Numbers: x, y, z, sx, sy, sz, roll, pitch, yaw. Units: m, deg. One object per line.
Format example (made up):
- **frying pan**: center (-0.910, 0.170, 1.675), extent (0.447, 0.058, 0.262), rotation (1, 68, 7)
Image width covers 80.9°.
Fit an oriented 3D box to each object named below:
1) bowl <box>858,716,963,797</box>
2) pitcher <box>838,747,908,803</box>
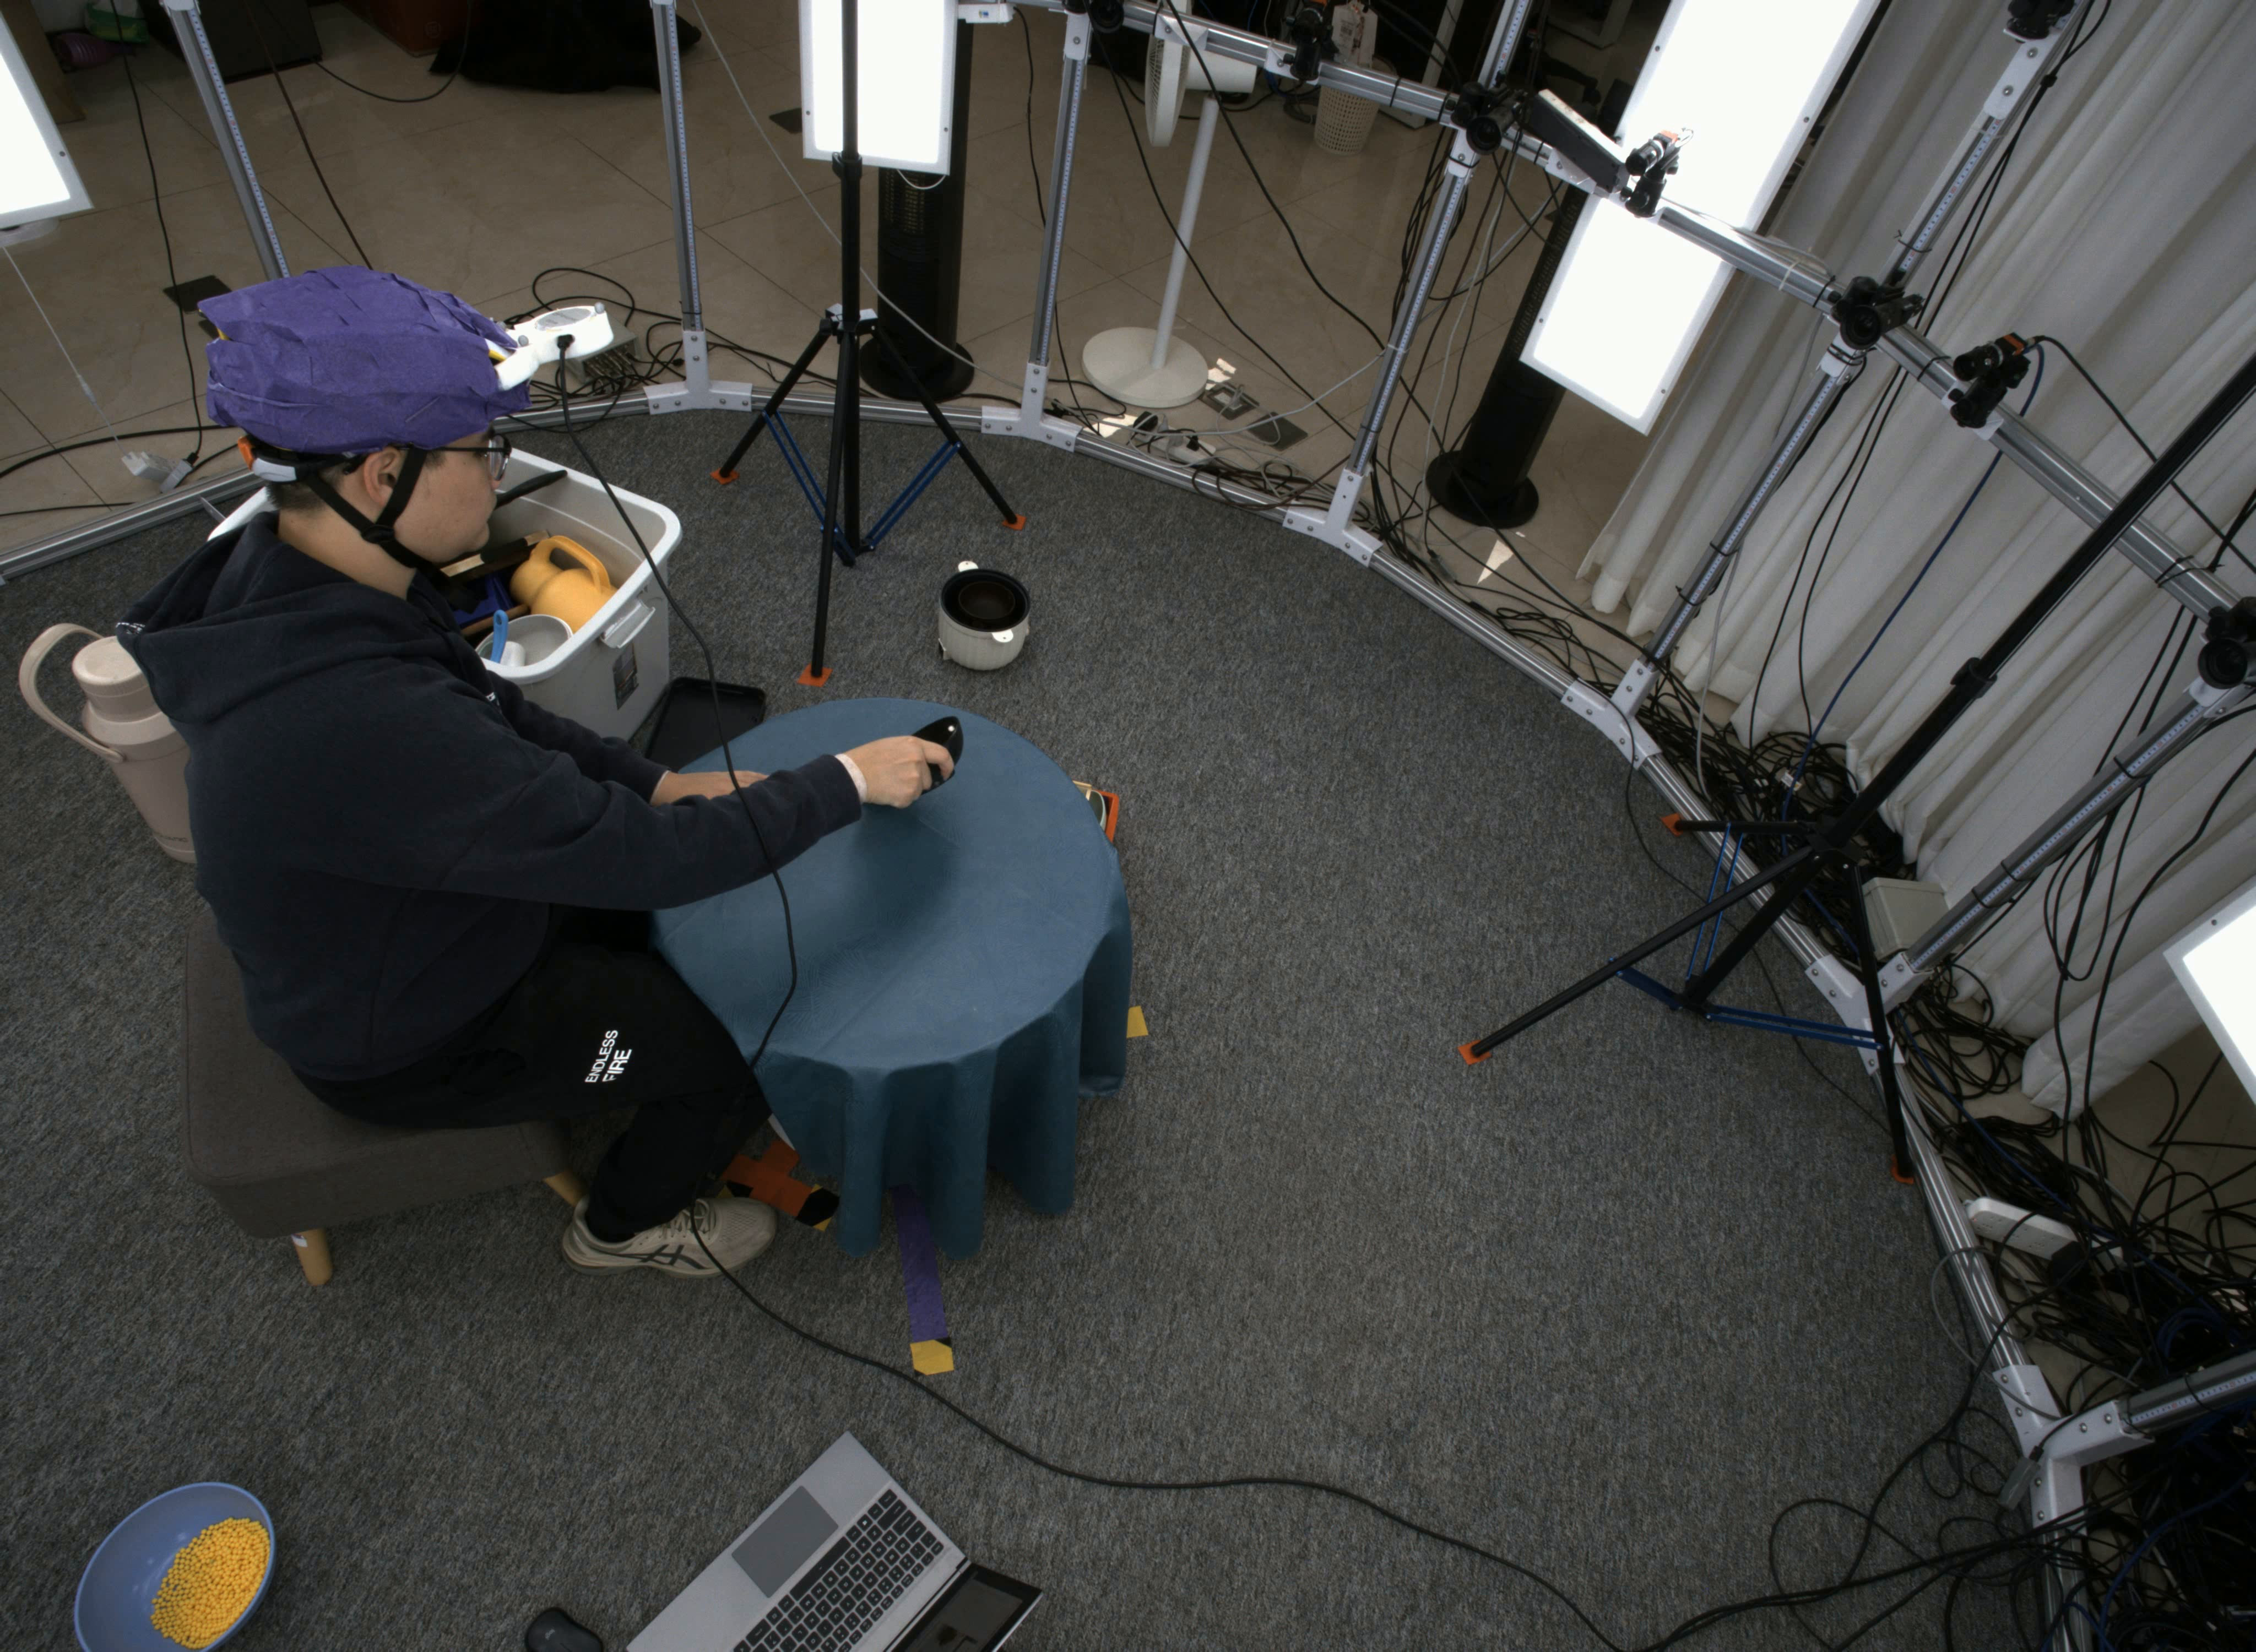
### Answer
- **bowl**: center (-0.266, -0.082, 1.667), extent (0.137, 0.165, 0.068), rotation (-36, 108, -27)
- **pitcher**: center (-0.338, -0.072, 1.759), extent (0.108, 0.062, 0.084), rotation (-7, 55, -17)
